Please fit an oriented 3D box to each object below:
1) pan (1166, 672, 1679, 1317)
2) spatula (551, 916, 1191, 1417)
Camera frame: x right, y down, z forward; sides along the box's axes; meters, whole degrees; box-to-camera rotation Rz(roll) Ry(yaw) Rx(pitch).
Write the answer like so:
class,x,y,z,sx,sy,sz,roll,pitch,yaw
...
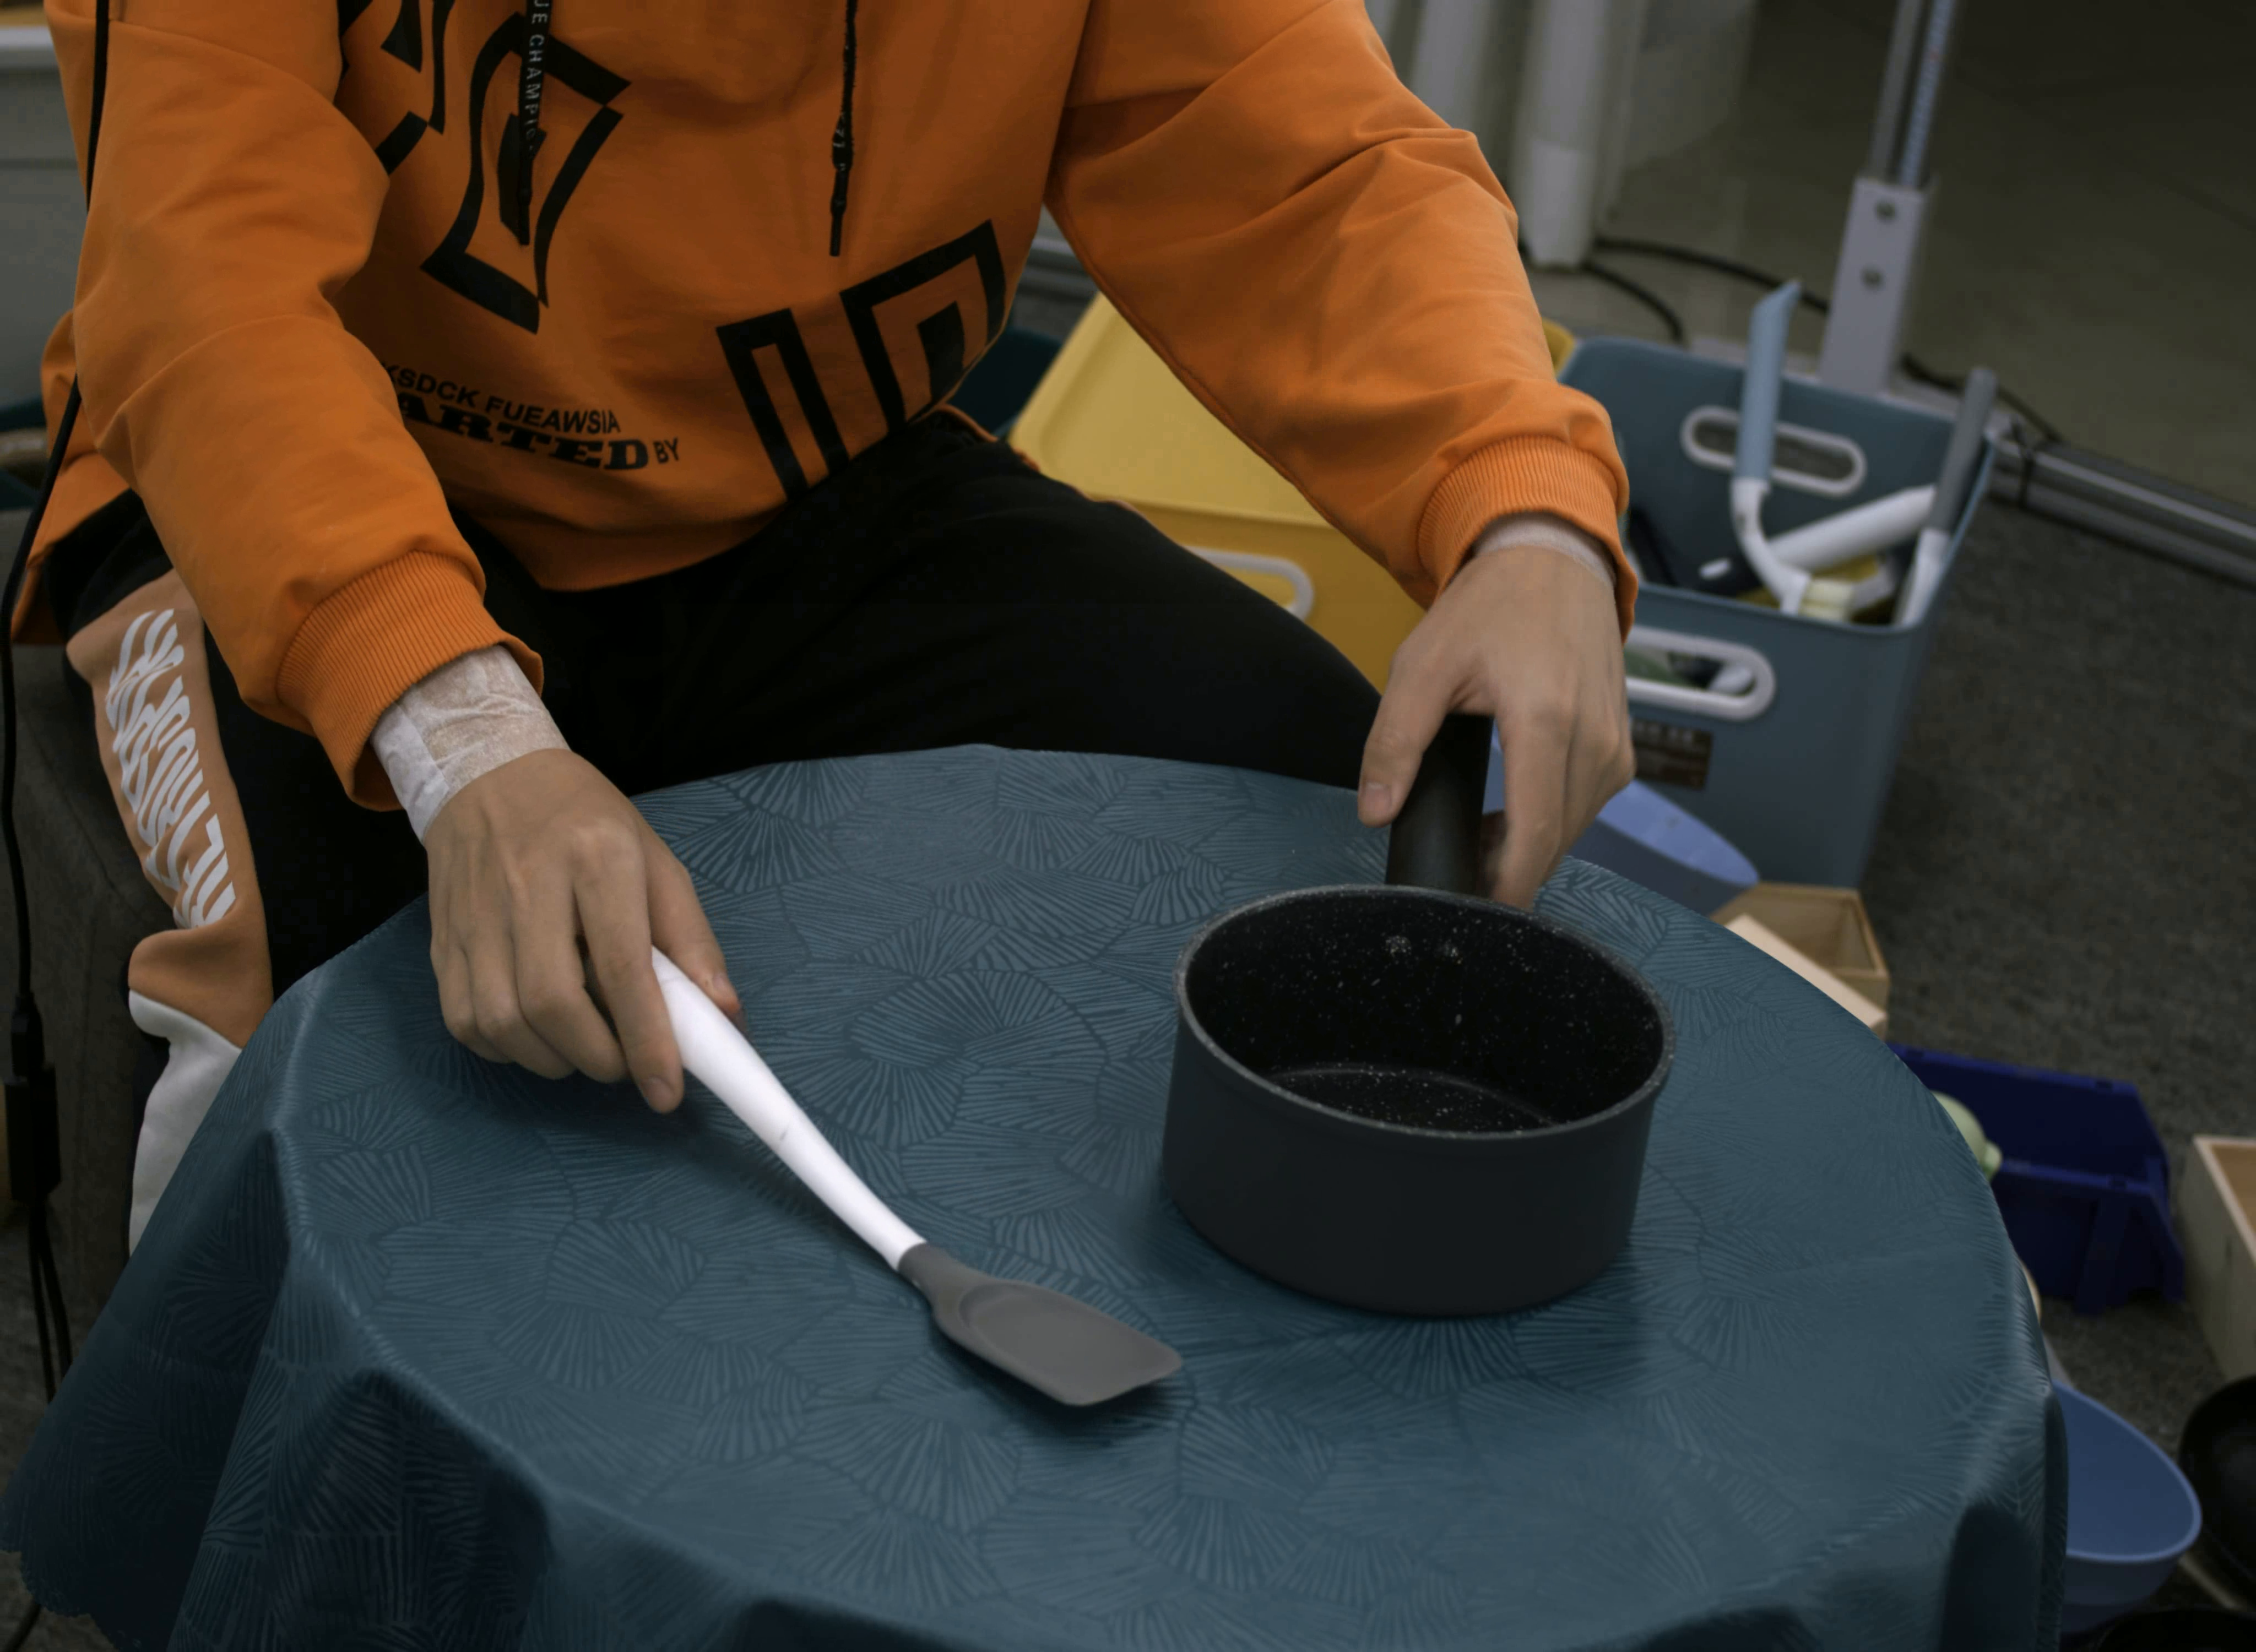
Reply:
class,x,y,z,sx,sy,sz,roll,pitch,yaw
pan,0.106,0.054,1.869,0.172,0.086,0.330,9,29,4
spatula,-0.092,0.115,1.754,0.058,0.032,0.290,-12,38,-44
